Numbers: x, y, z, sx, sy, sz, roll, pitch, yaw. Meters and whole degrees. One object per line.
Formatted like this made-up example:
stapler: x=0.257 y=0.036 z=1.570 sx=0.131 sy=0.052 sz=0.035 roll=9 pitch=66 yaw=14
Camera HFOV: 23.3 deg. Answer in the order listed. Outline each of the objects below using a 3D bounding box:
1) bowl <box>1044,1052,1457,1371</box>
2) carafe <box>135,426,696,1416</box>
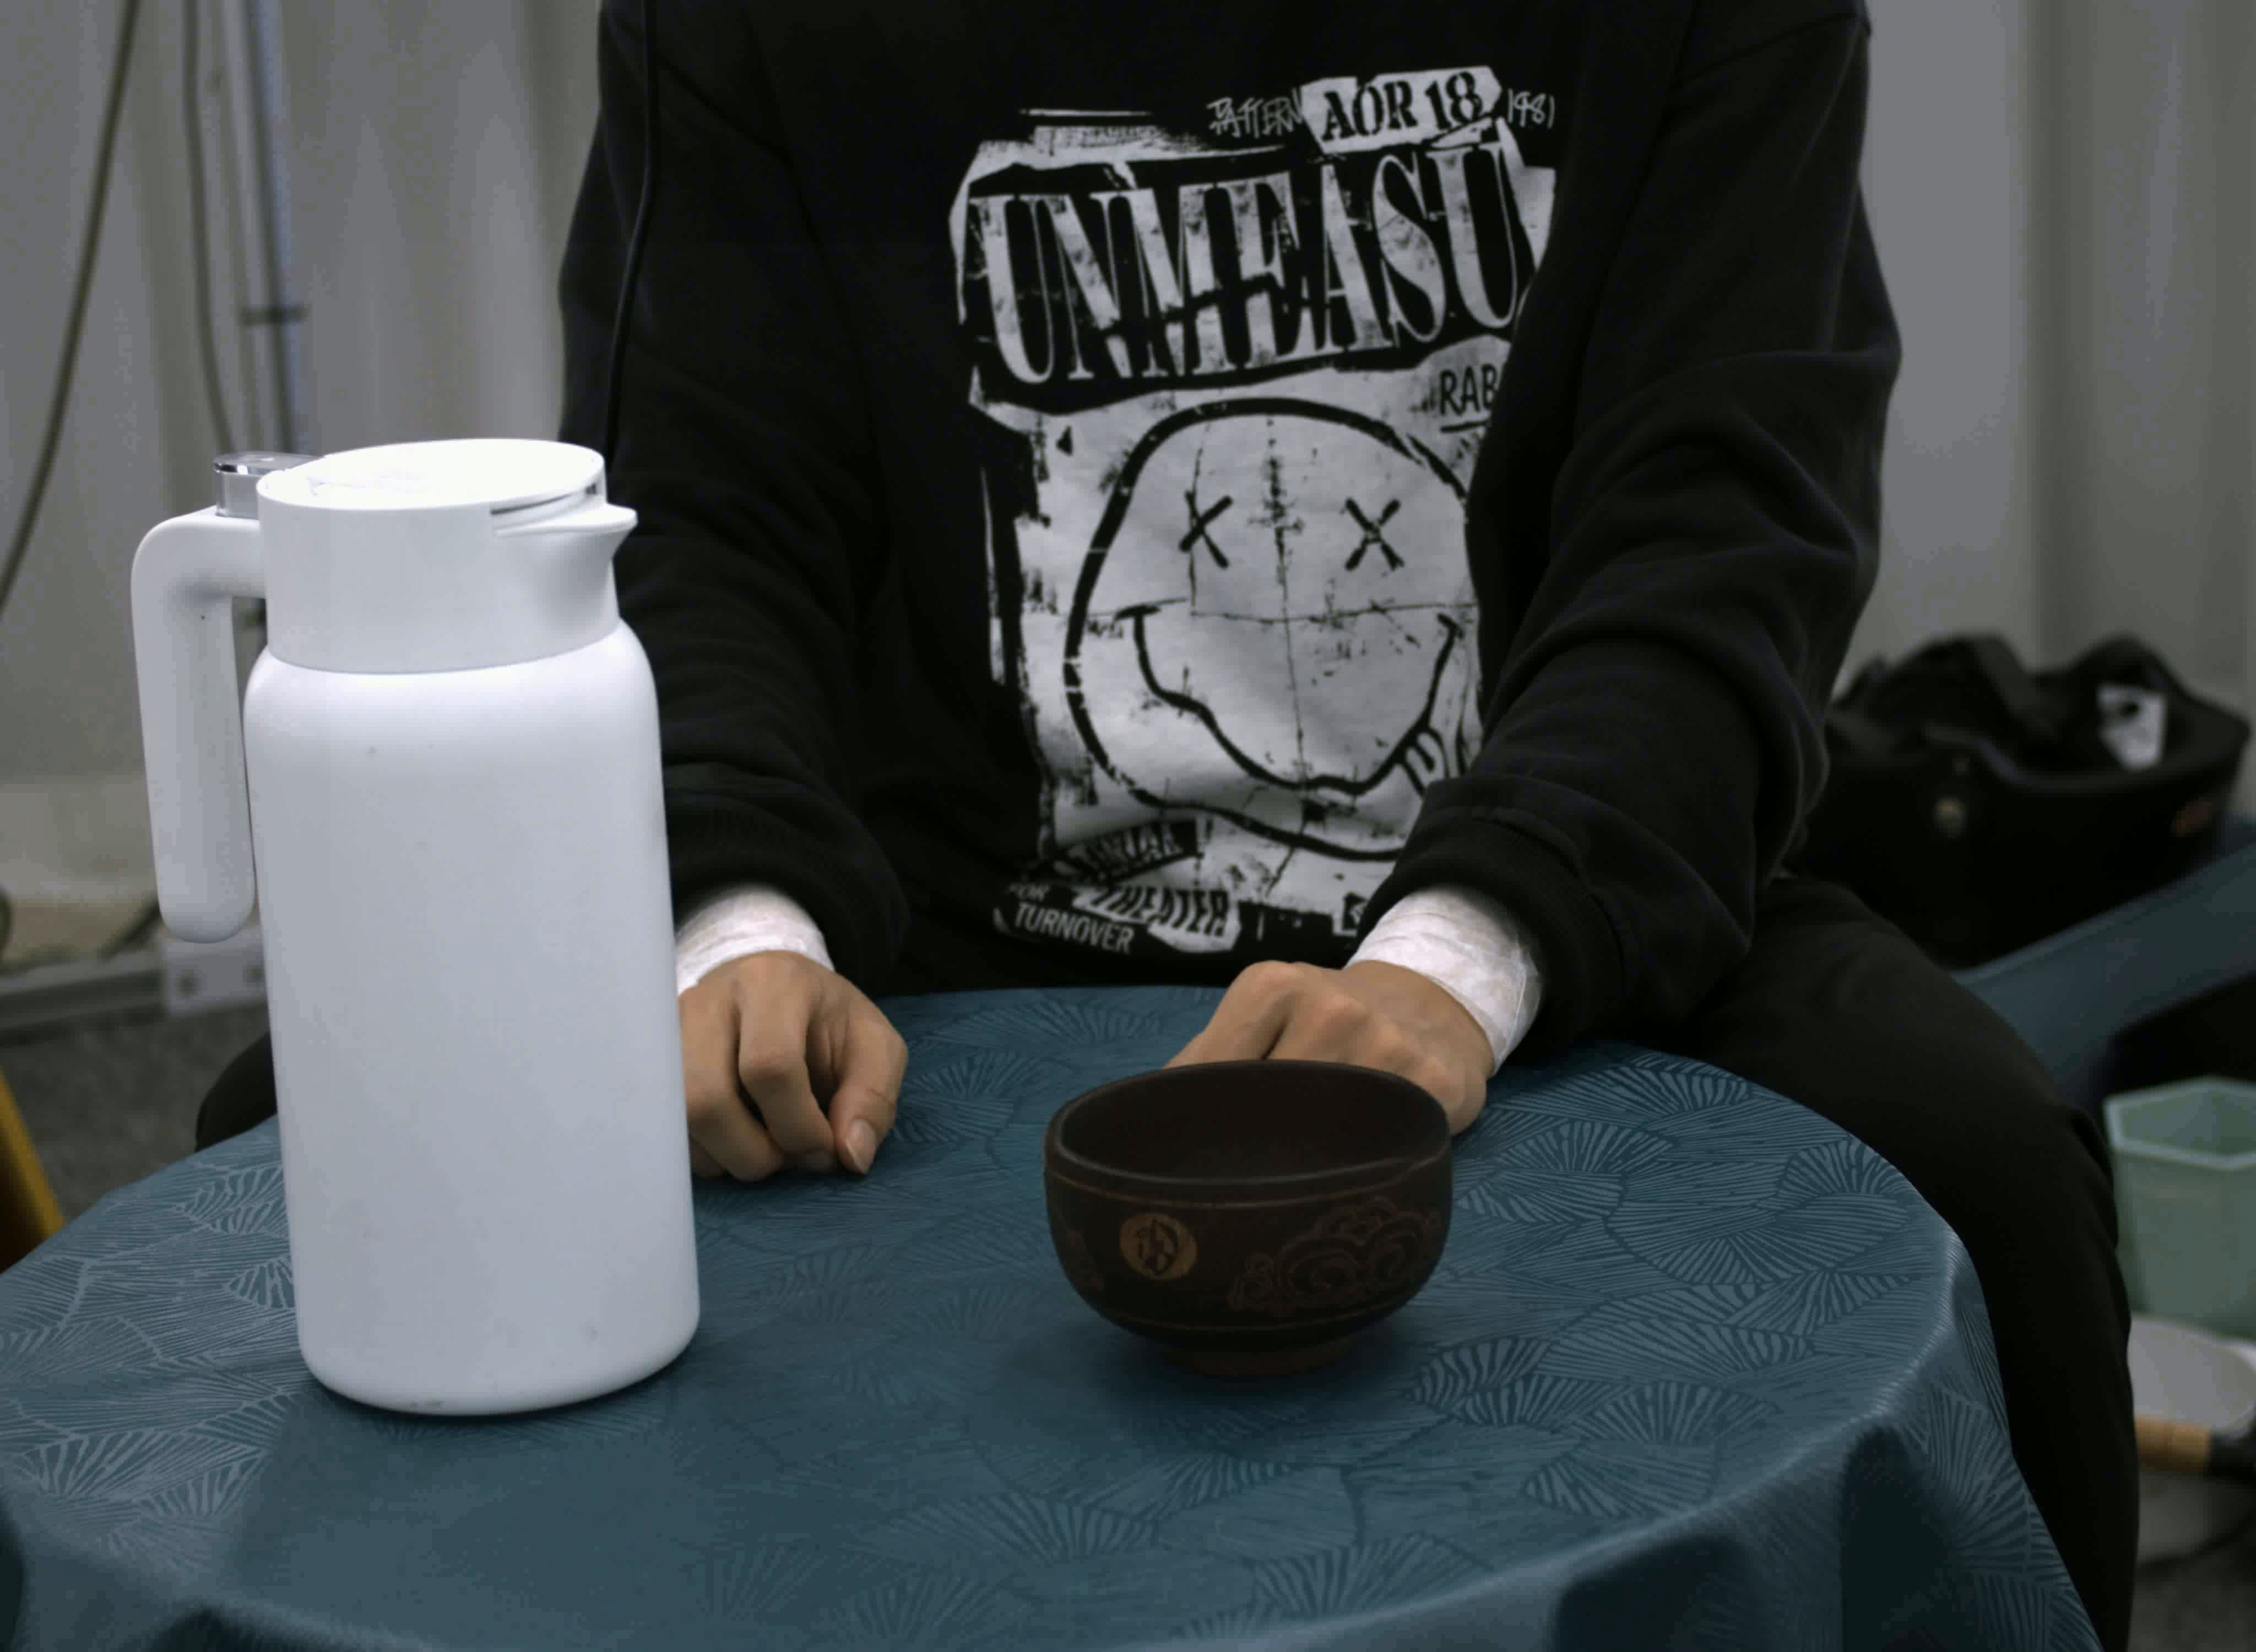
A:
bowl: x=0.036 y=0.114 z=1.566 sx=0.117 sy=0.069 sz=0.119 roll=-3 pitch=14 yaw=1
carafe: x=-0.204 y=0.025 z=1.574 sx=0.173 sy=0.268 sz=0.124 roll=5 pitch=17 yaw=29
